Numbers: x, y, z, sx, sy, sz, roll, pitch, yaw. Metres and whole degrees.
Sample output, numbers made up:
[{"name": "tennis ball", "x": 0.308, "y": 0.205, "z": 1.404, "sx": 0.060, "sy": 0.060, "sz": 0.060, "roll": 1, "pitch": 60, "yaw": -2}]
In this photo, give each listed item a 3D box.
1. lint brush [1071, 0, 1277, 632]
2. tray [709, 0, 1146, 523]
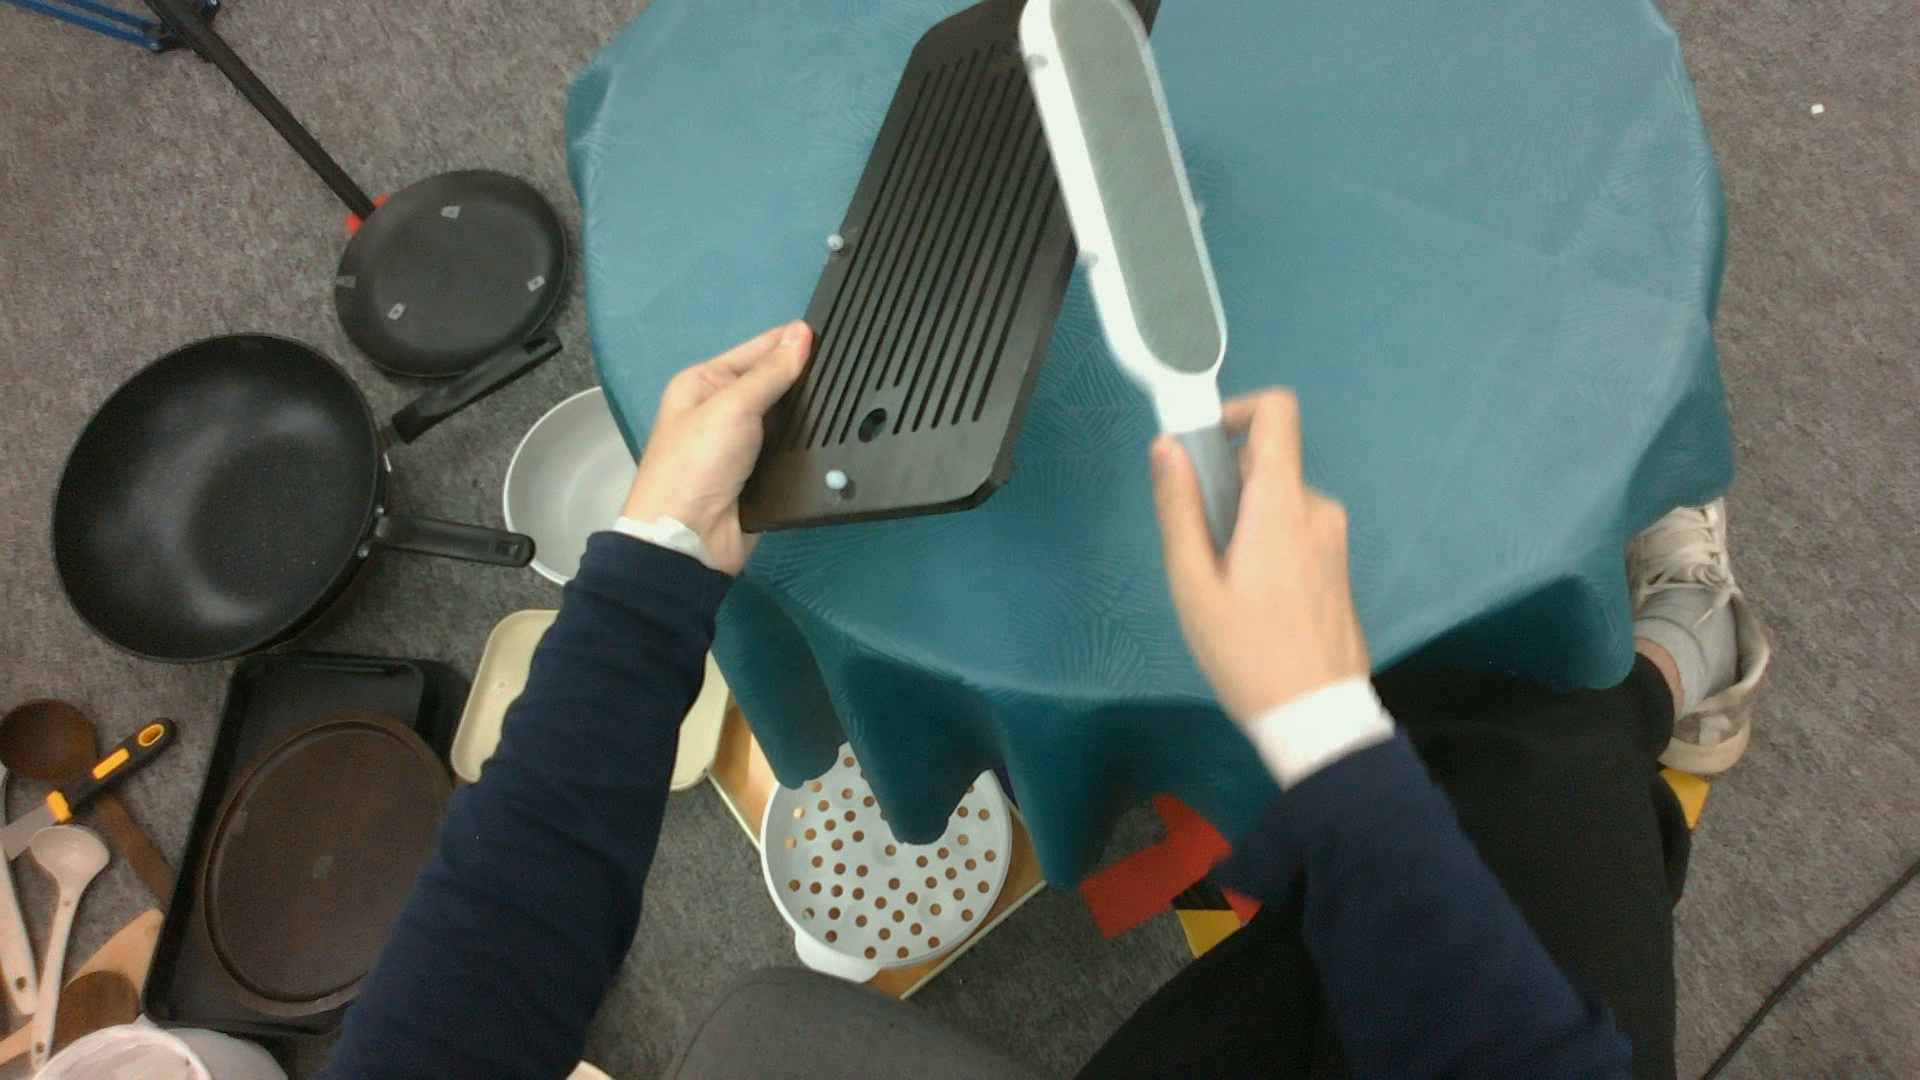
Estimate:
[{"name": "lint brush", "x": 0.087, "y": -0.115, "z": 0.558, "sx": 0.021, "sy": 0.060, "sz": 0.309, "roll": -15, "pitch": 83, "yaw": 45}, {"name": "tray", "x": -0.007, "y": -0.145, "z": 0.622, "sx": 0.169, "sy": 0.018, "sz": 0.307, "roll": -4, "pitch": 59, "yaw": 43}]
